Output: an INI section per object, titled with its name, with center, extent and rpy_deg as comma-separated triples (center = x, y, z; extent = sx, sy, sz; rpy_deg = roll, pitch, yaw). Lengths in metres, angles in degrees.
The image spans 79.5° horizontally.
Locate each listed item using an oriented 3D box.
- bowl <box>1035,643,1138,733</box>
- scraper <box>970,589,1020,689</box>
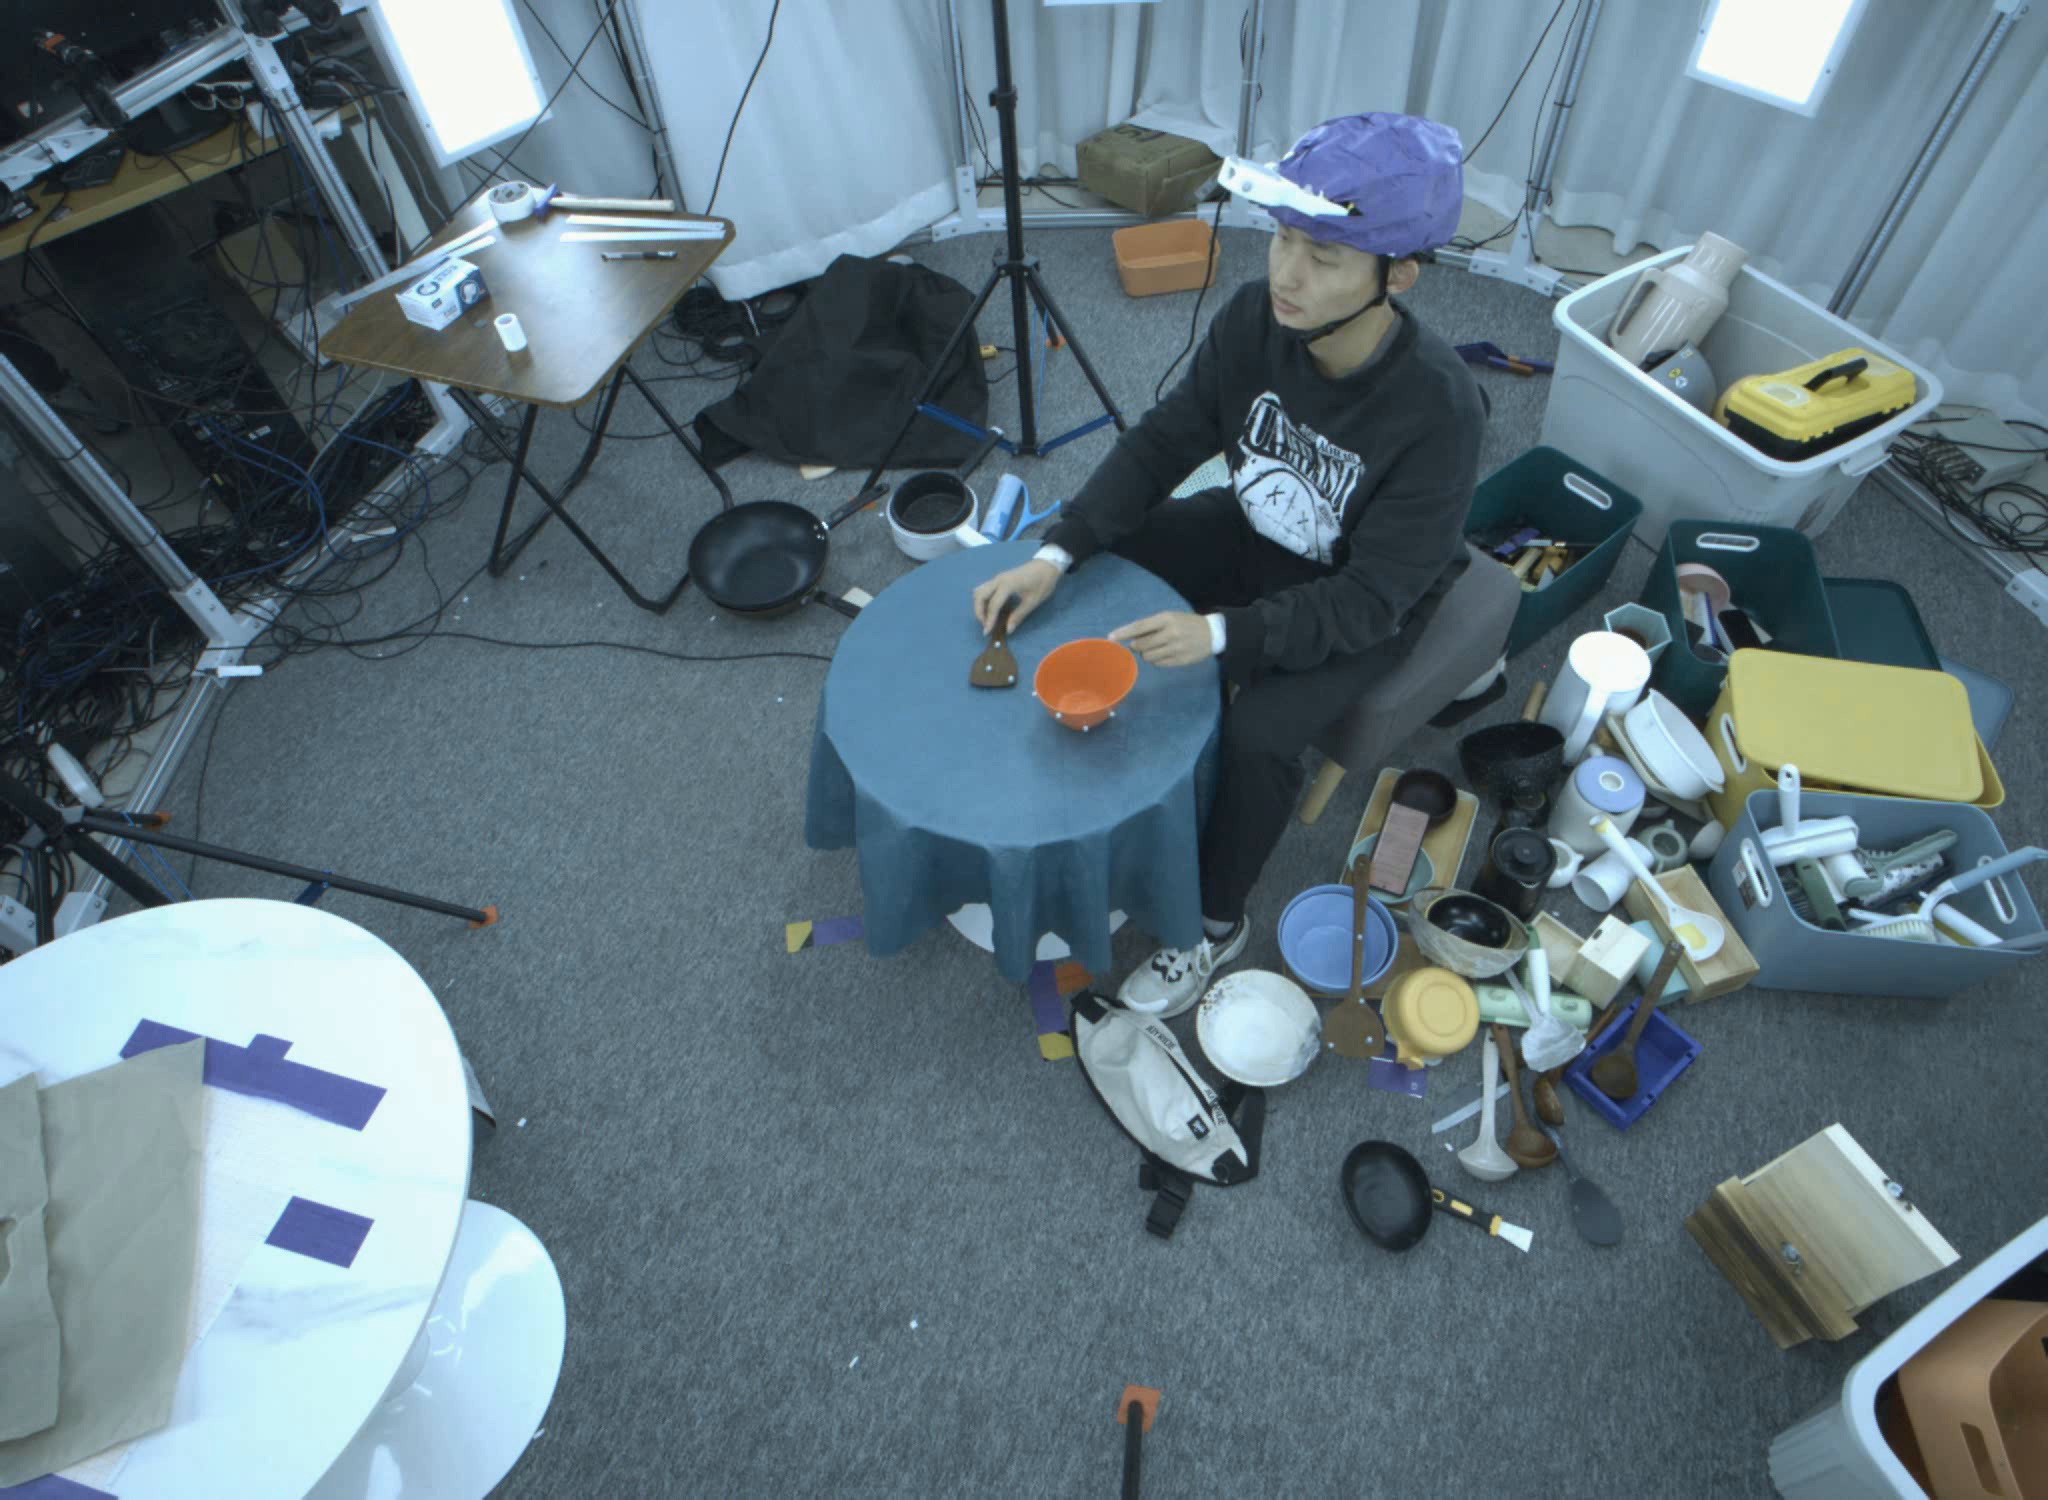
[bowl]
center = 0.091, -0.076, 1.787
extent = 0.148, 0.106, 0.146
rpy_deg = -1, 55, 2
[scraper]
center = -0.038, -0.175, 1.917
extent = 0.076, 0.011, 0.209
rpy_deg = 3, 54, 3
